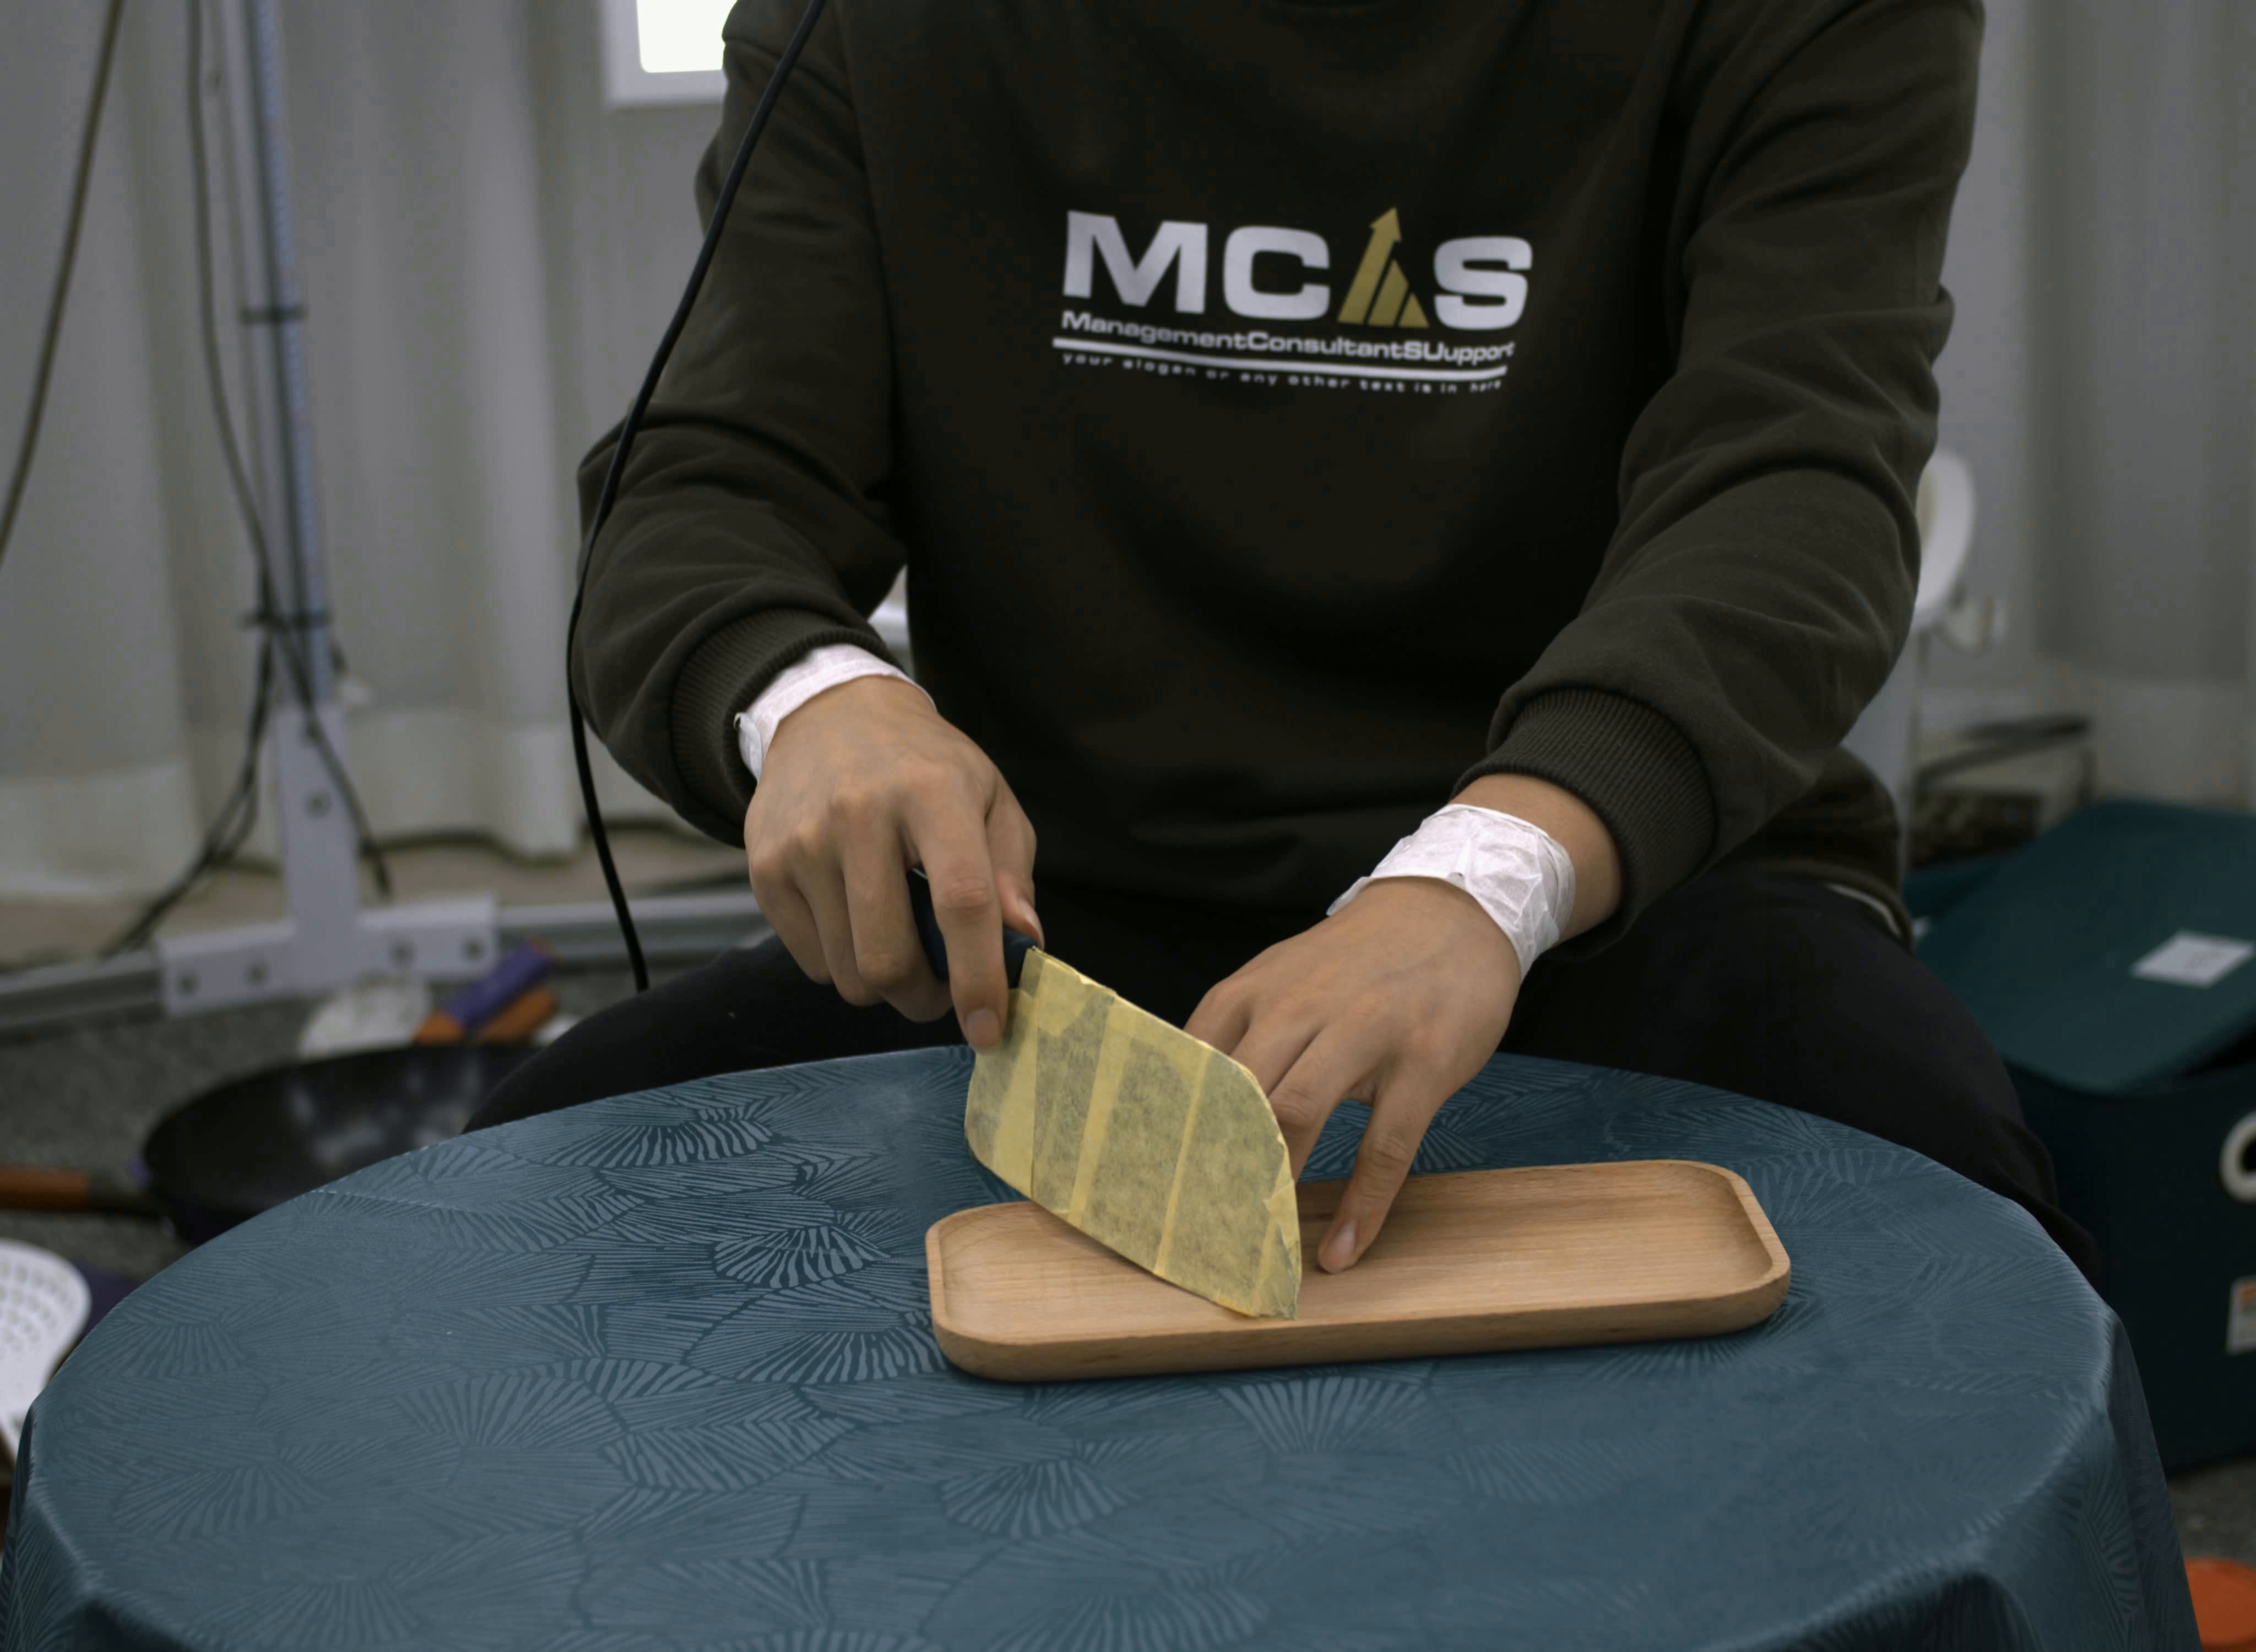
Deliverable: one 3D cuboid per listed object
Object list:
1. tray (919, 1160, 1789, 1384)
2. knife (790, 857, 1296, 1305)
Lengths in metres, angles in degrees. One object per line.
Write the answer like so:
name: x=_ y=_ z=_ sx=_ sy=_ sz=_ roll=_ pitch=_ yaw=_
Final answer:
tray: x=0.064 y=0.131 z=1.611 sx=0.250 sy=0.023 sz=0.131 roll=-4 pitch=12 yaw=-3
knife: x=-0.029 y=0.073 z=1.670 sx=0.027 sy=0.081 sz=0.292 roll=7 pitch=15 yaw=-35
